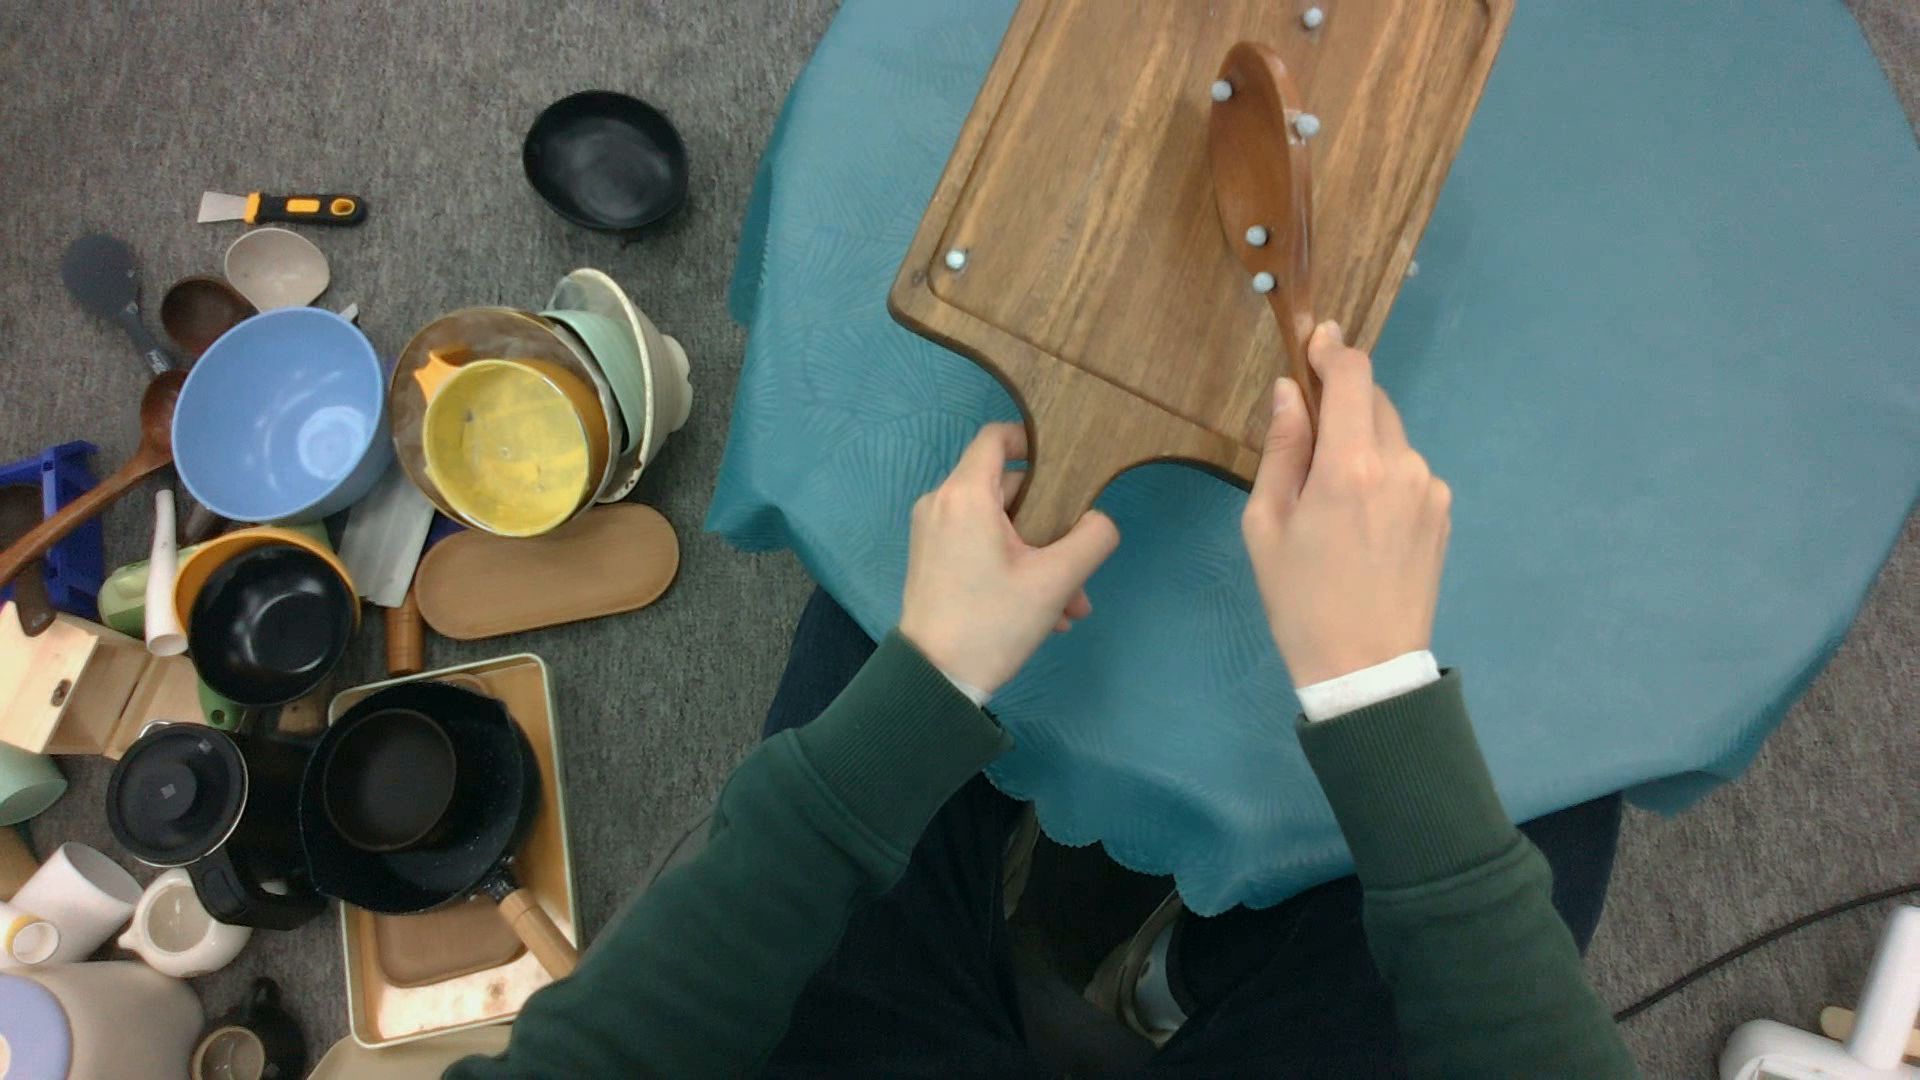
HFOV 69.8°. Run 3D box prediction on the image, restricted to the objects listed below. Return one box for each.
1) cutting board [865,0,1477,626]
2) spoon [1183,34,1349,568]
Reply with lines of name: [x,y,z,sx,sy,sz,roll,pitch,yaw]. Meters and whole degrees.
cutting board: [0.076,-0.128,0.583,0.201,0.023,0.352,25,84,-9]
spoon: [0.122,-0.094,0.536,0.017,0.075,0.216,-6,79,-16]
